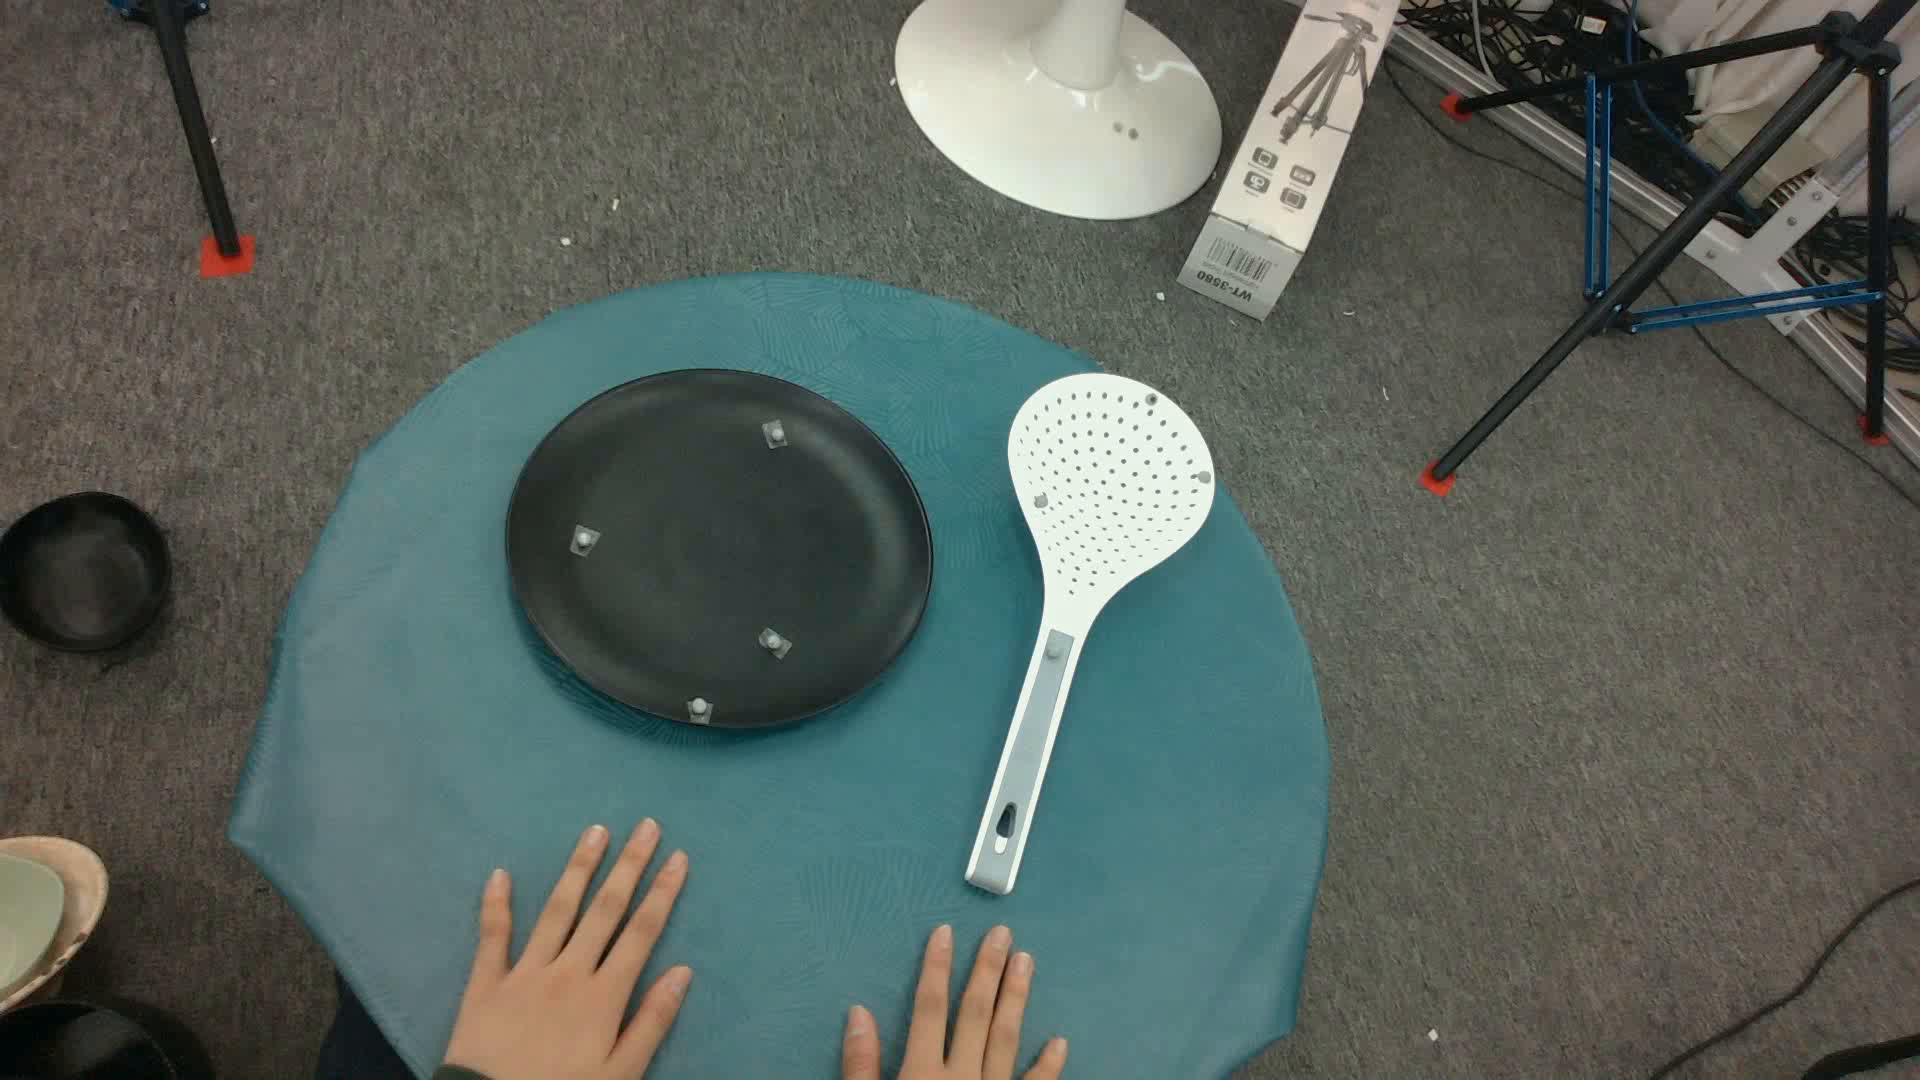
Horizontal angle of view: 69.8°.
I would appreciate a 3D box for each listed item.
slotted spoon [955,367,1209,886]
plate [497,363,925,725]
[{"bbox_3d":[0.061,0.039,0.824,0.136,0.045,0.351,20,56,-2],"label":"slotted spoon"},{"bbox_3d":[-0.141,-0.001,0.801,0.244,0.023,0.245,8,56,-12],"label":"plate"}]
